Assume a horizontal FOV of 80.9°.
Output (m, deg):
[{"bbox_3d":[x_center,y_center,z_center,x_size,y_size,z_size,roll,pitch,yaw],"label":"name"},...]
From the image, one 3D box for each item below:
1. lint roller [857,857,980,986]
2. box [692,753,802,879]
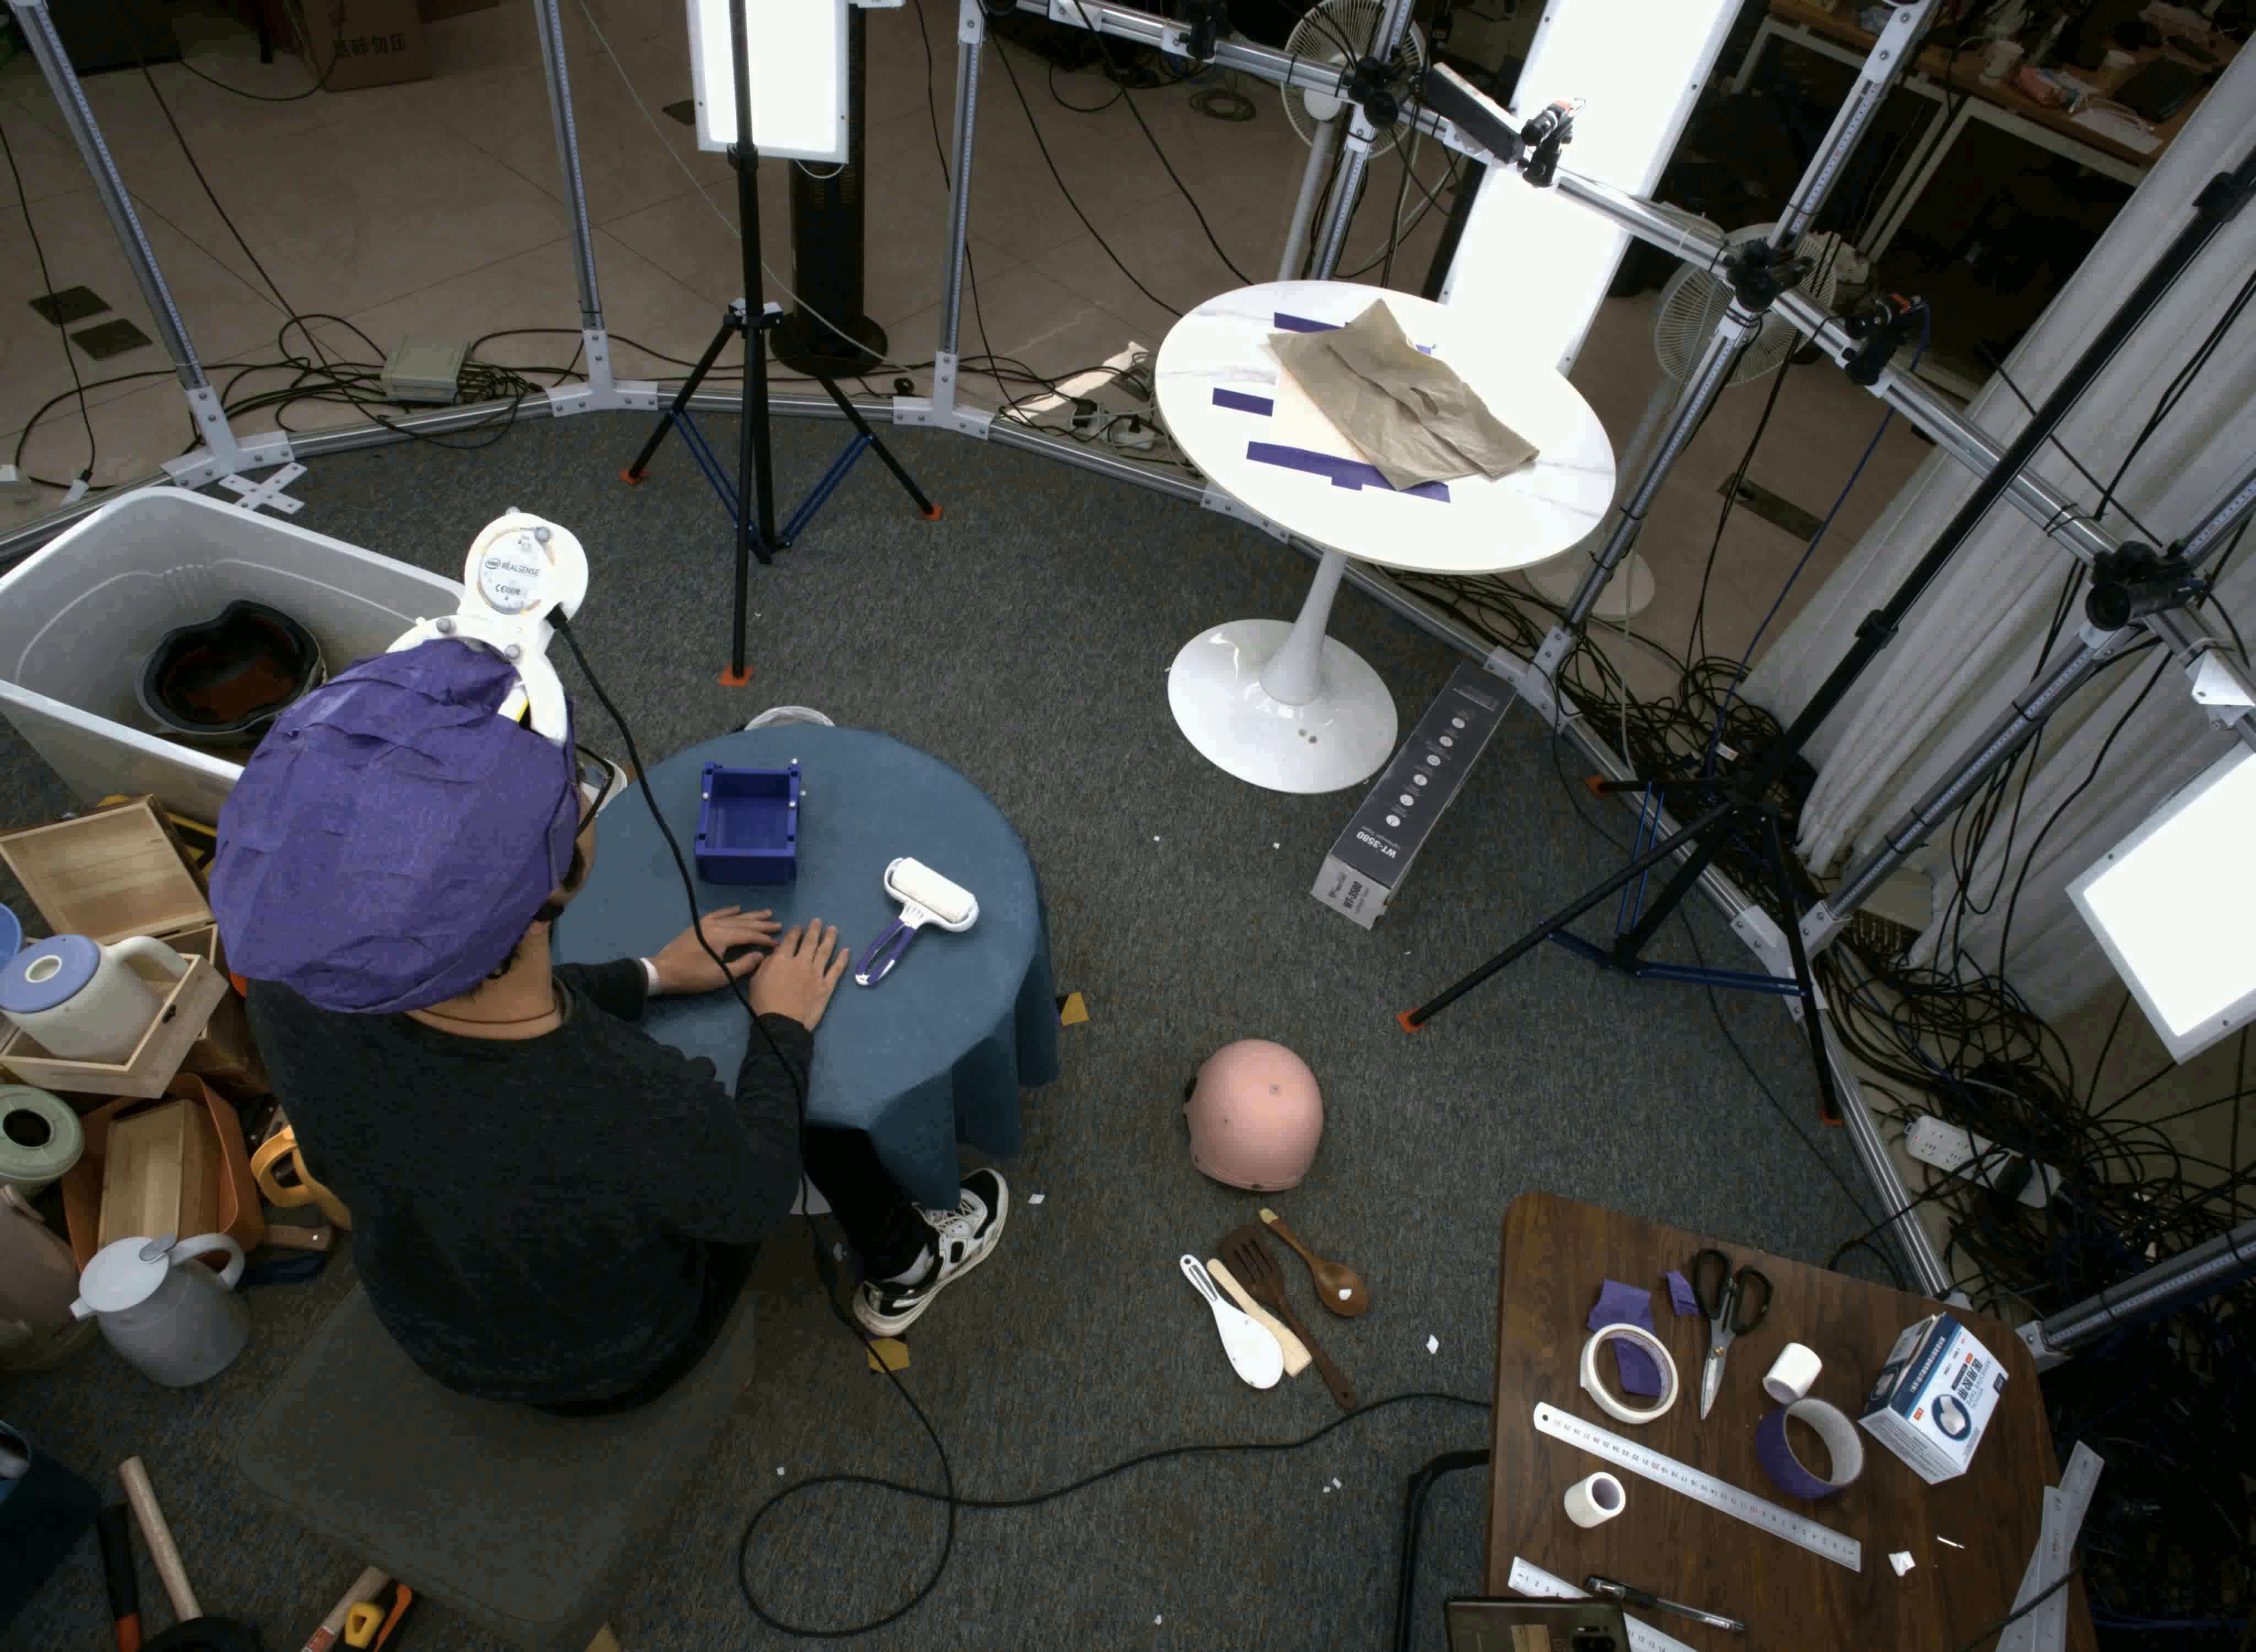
[{"bbox_3d":[-0.283,0.122,1.634,0.131,0.051,0.180,32,51,9],"label":"lint roller"},{"bbox_3d":[-0.489,-0.021,1.664,0.124,0.083,0.176,2,56,-12],"label":"box"}]
